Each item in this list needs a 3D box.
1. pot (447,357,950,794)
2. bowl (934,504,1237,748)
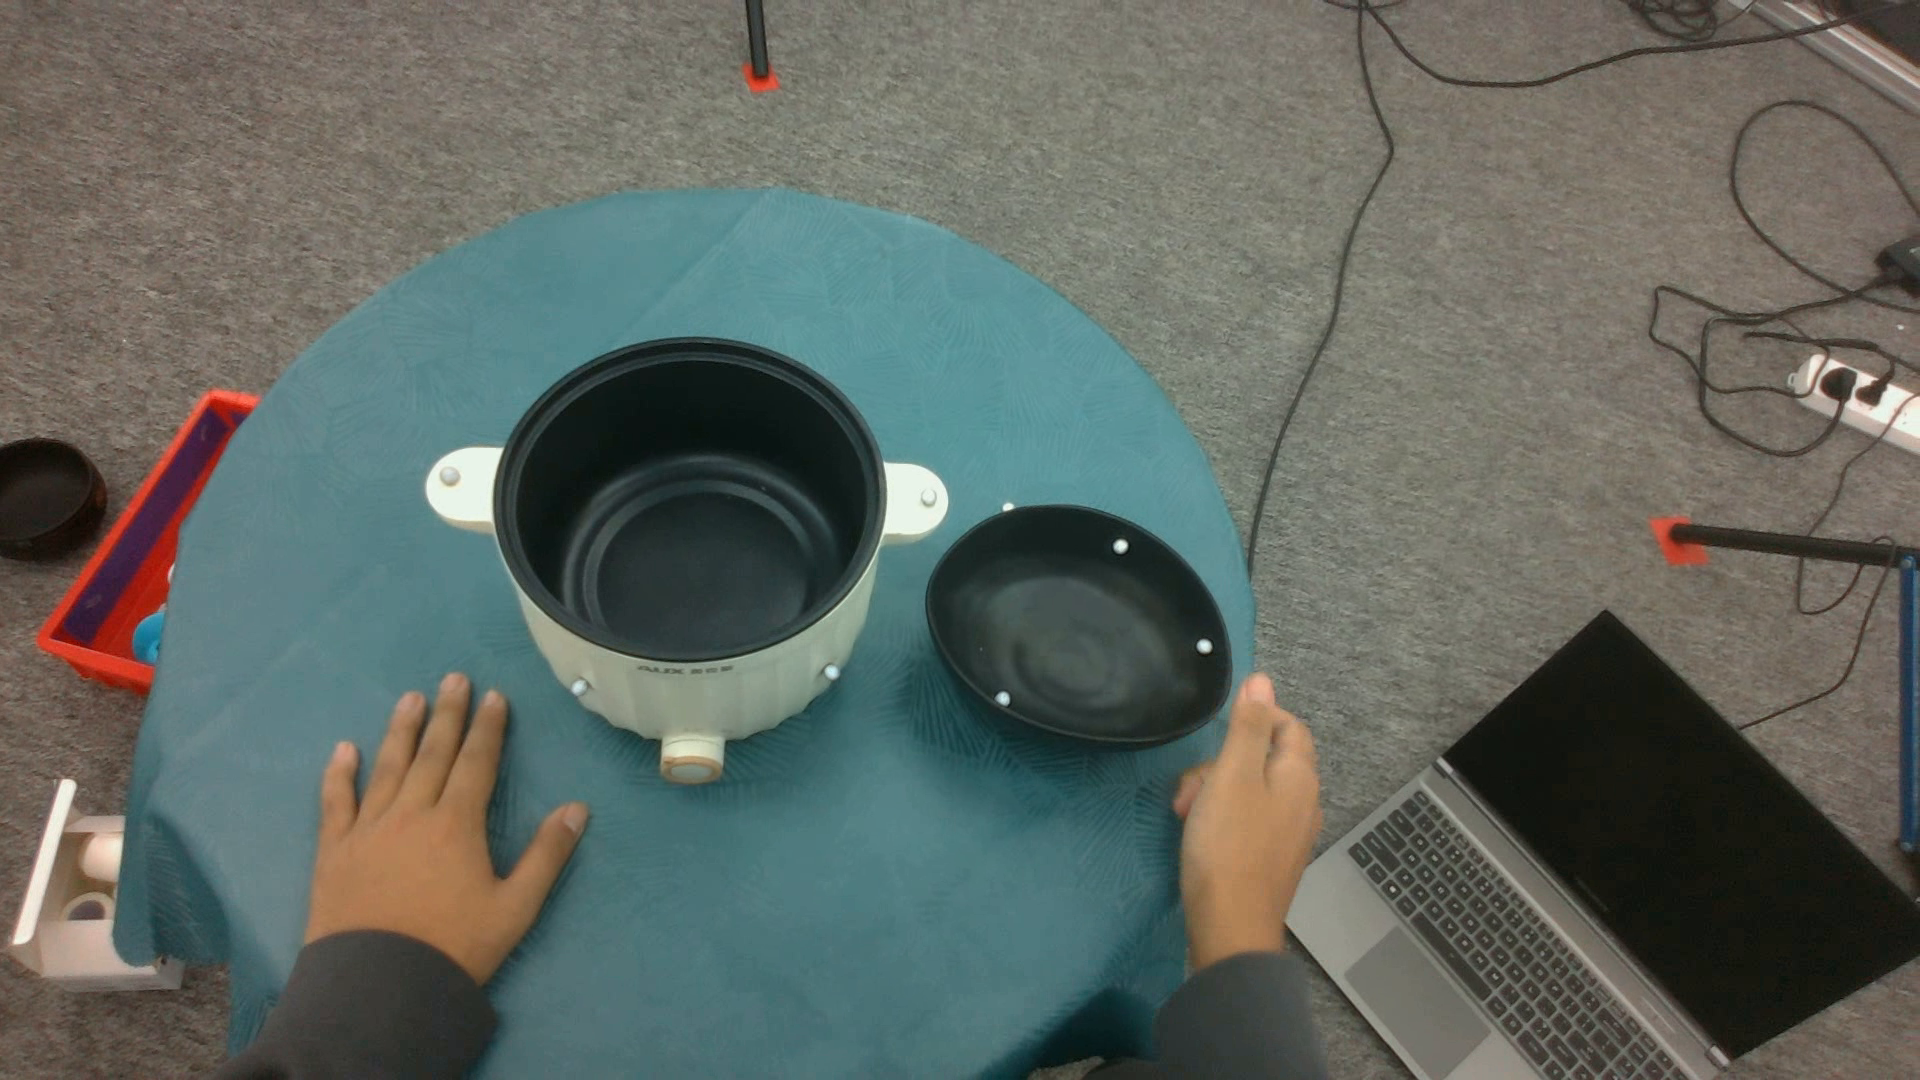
[{"bbox_3d":[-0.127,0.022,0.716,0.240,0.142,0.191,-3,56,-6],"label":"pot"},{"bbox_3d":[0.067,0.055,0.759,0.170,0.066,0.138,16,58,2],"label":"bowl"}]
